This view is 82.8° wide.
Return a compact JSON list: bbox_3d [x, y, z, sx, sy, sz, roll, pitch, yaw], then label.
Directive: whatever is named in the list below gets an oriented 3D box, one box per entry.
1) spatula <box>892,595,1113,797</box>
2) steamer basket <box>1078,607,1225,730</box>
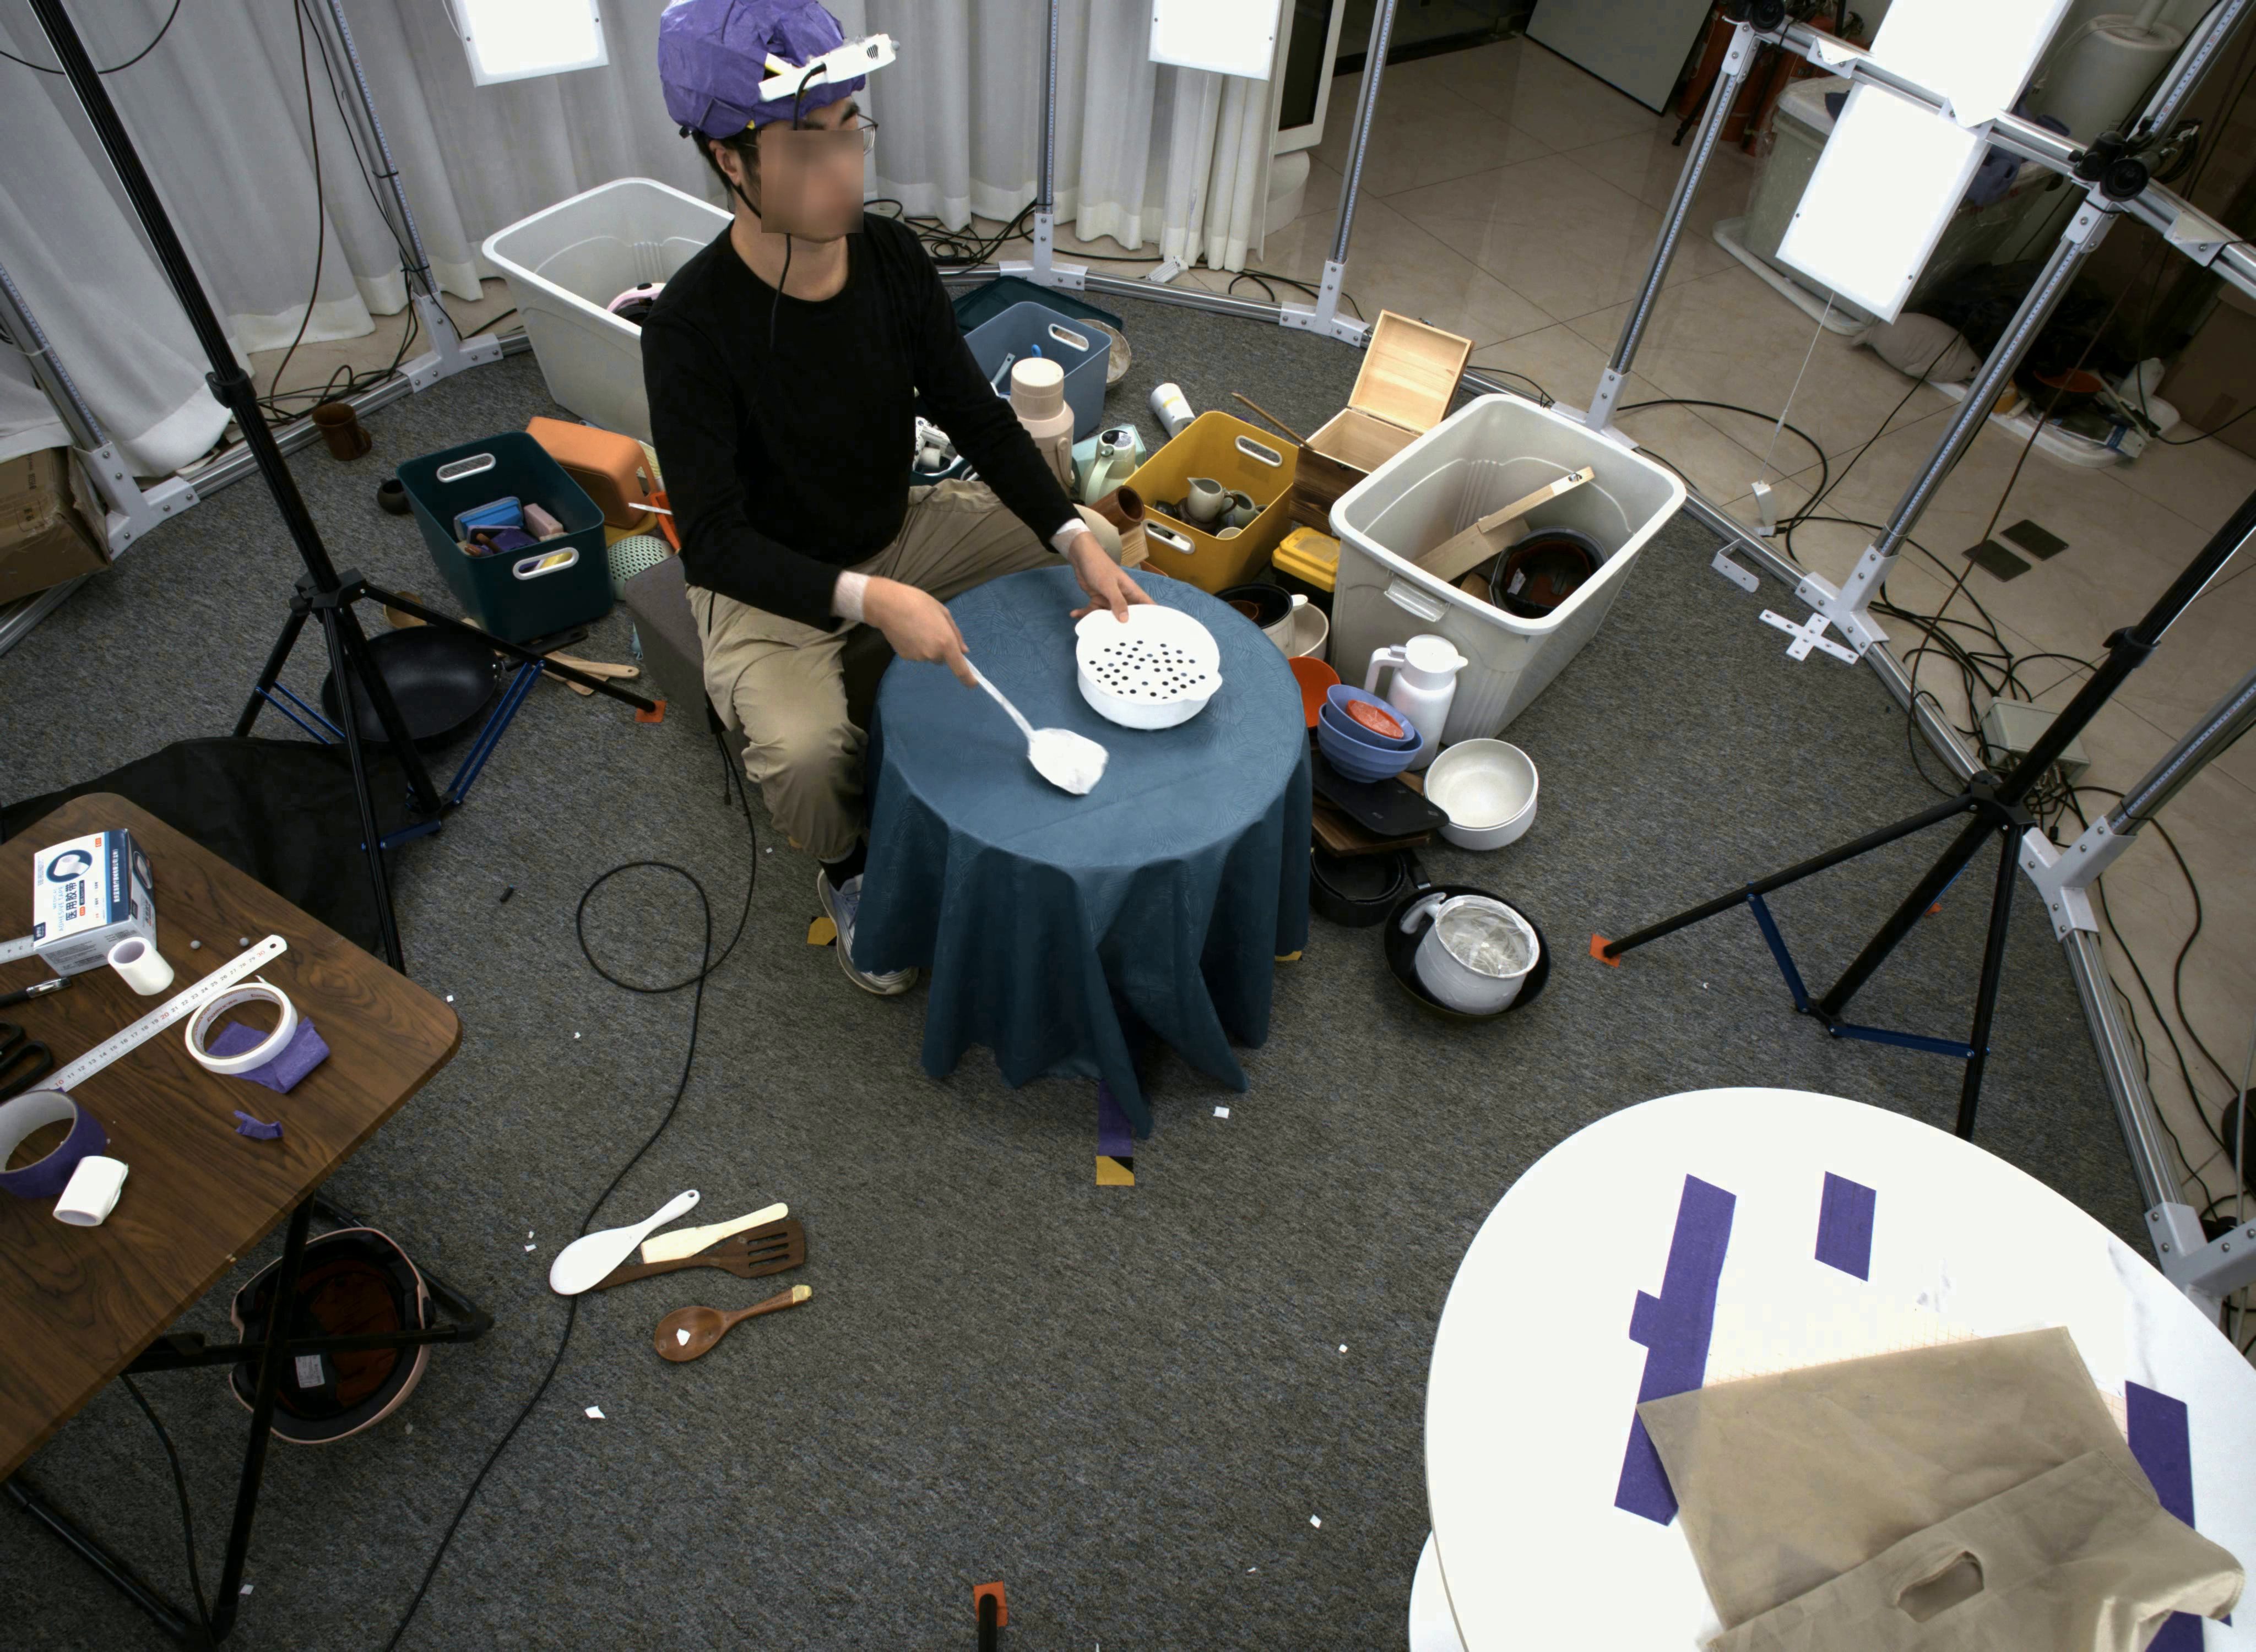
[{"bbox_3d":[-0.171,-0.178,1.695,0.361,0.044,0.100,44,52,-13],"label":"spatula"},{"bbox_3d":[0.030,-0.222,1.820,0.233,0.067,0.204,32,53,23],"label":"steamer basket"}]
